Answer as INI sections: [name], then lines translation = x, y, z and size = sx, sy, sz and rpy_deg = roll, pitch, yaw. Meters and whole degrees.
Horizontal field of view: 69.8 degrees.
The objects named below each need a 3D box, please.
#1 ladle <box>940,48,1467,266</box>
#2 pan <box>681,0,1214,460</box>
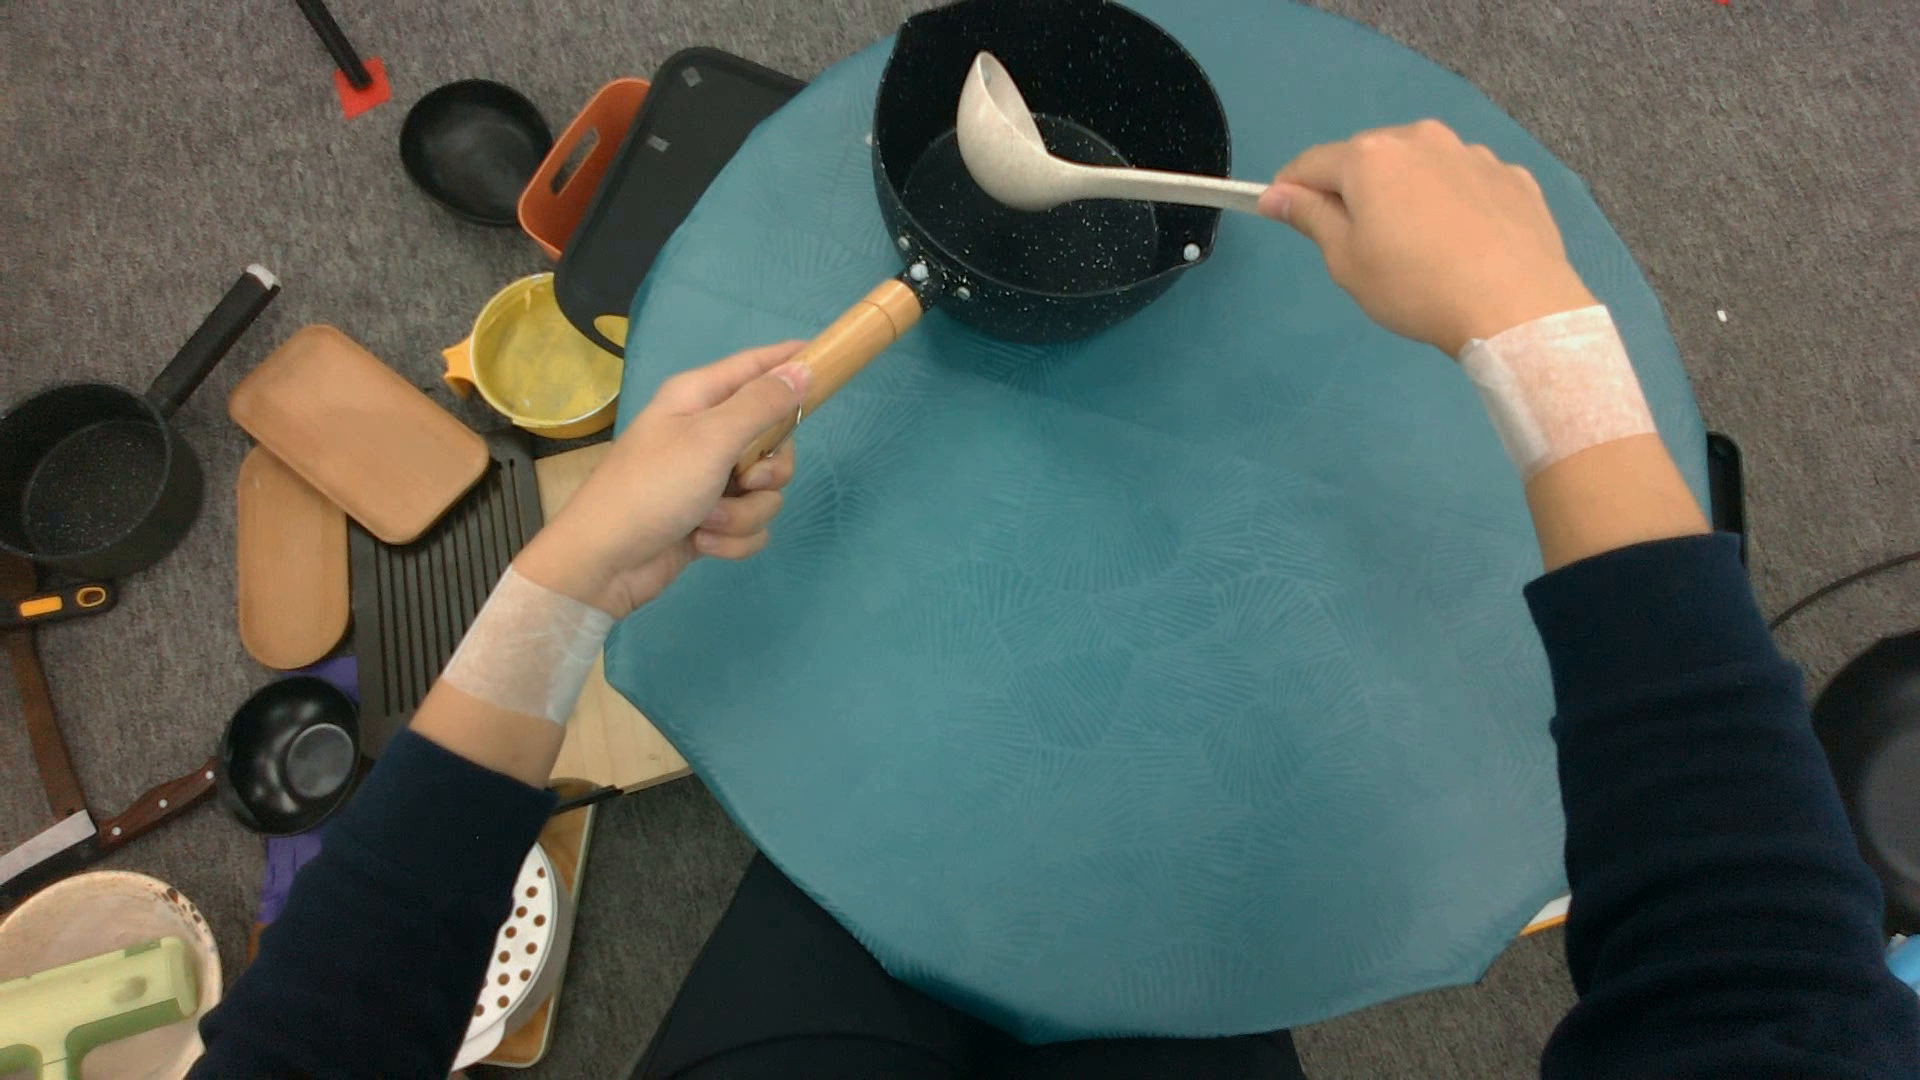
[ladle]
translation = 0.109, -0.180, 0.641
size = 0.274, 0.089, 0.069
rpy_deg = 17, 73, 31
[pan]
translation = -0.013, -0.144, 0.699
size = 0.207, 0.108, 0.344
rpy_deg = 38, 68, 6
